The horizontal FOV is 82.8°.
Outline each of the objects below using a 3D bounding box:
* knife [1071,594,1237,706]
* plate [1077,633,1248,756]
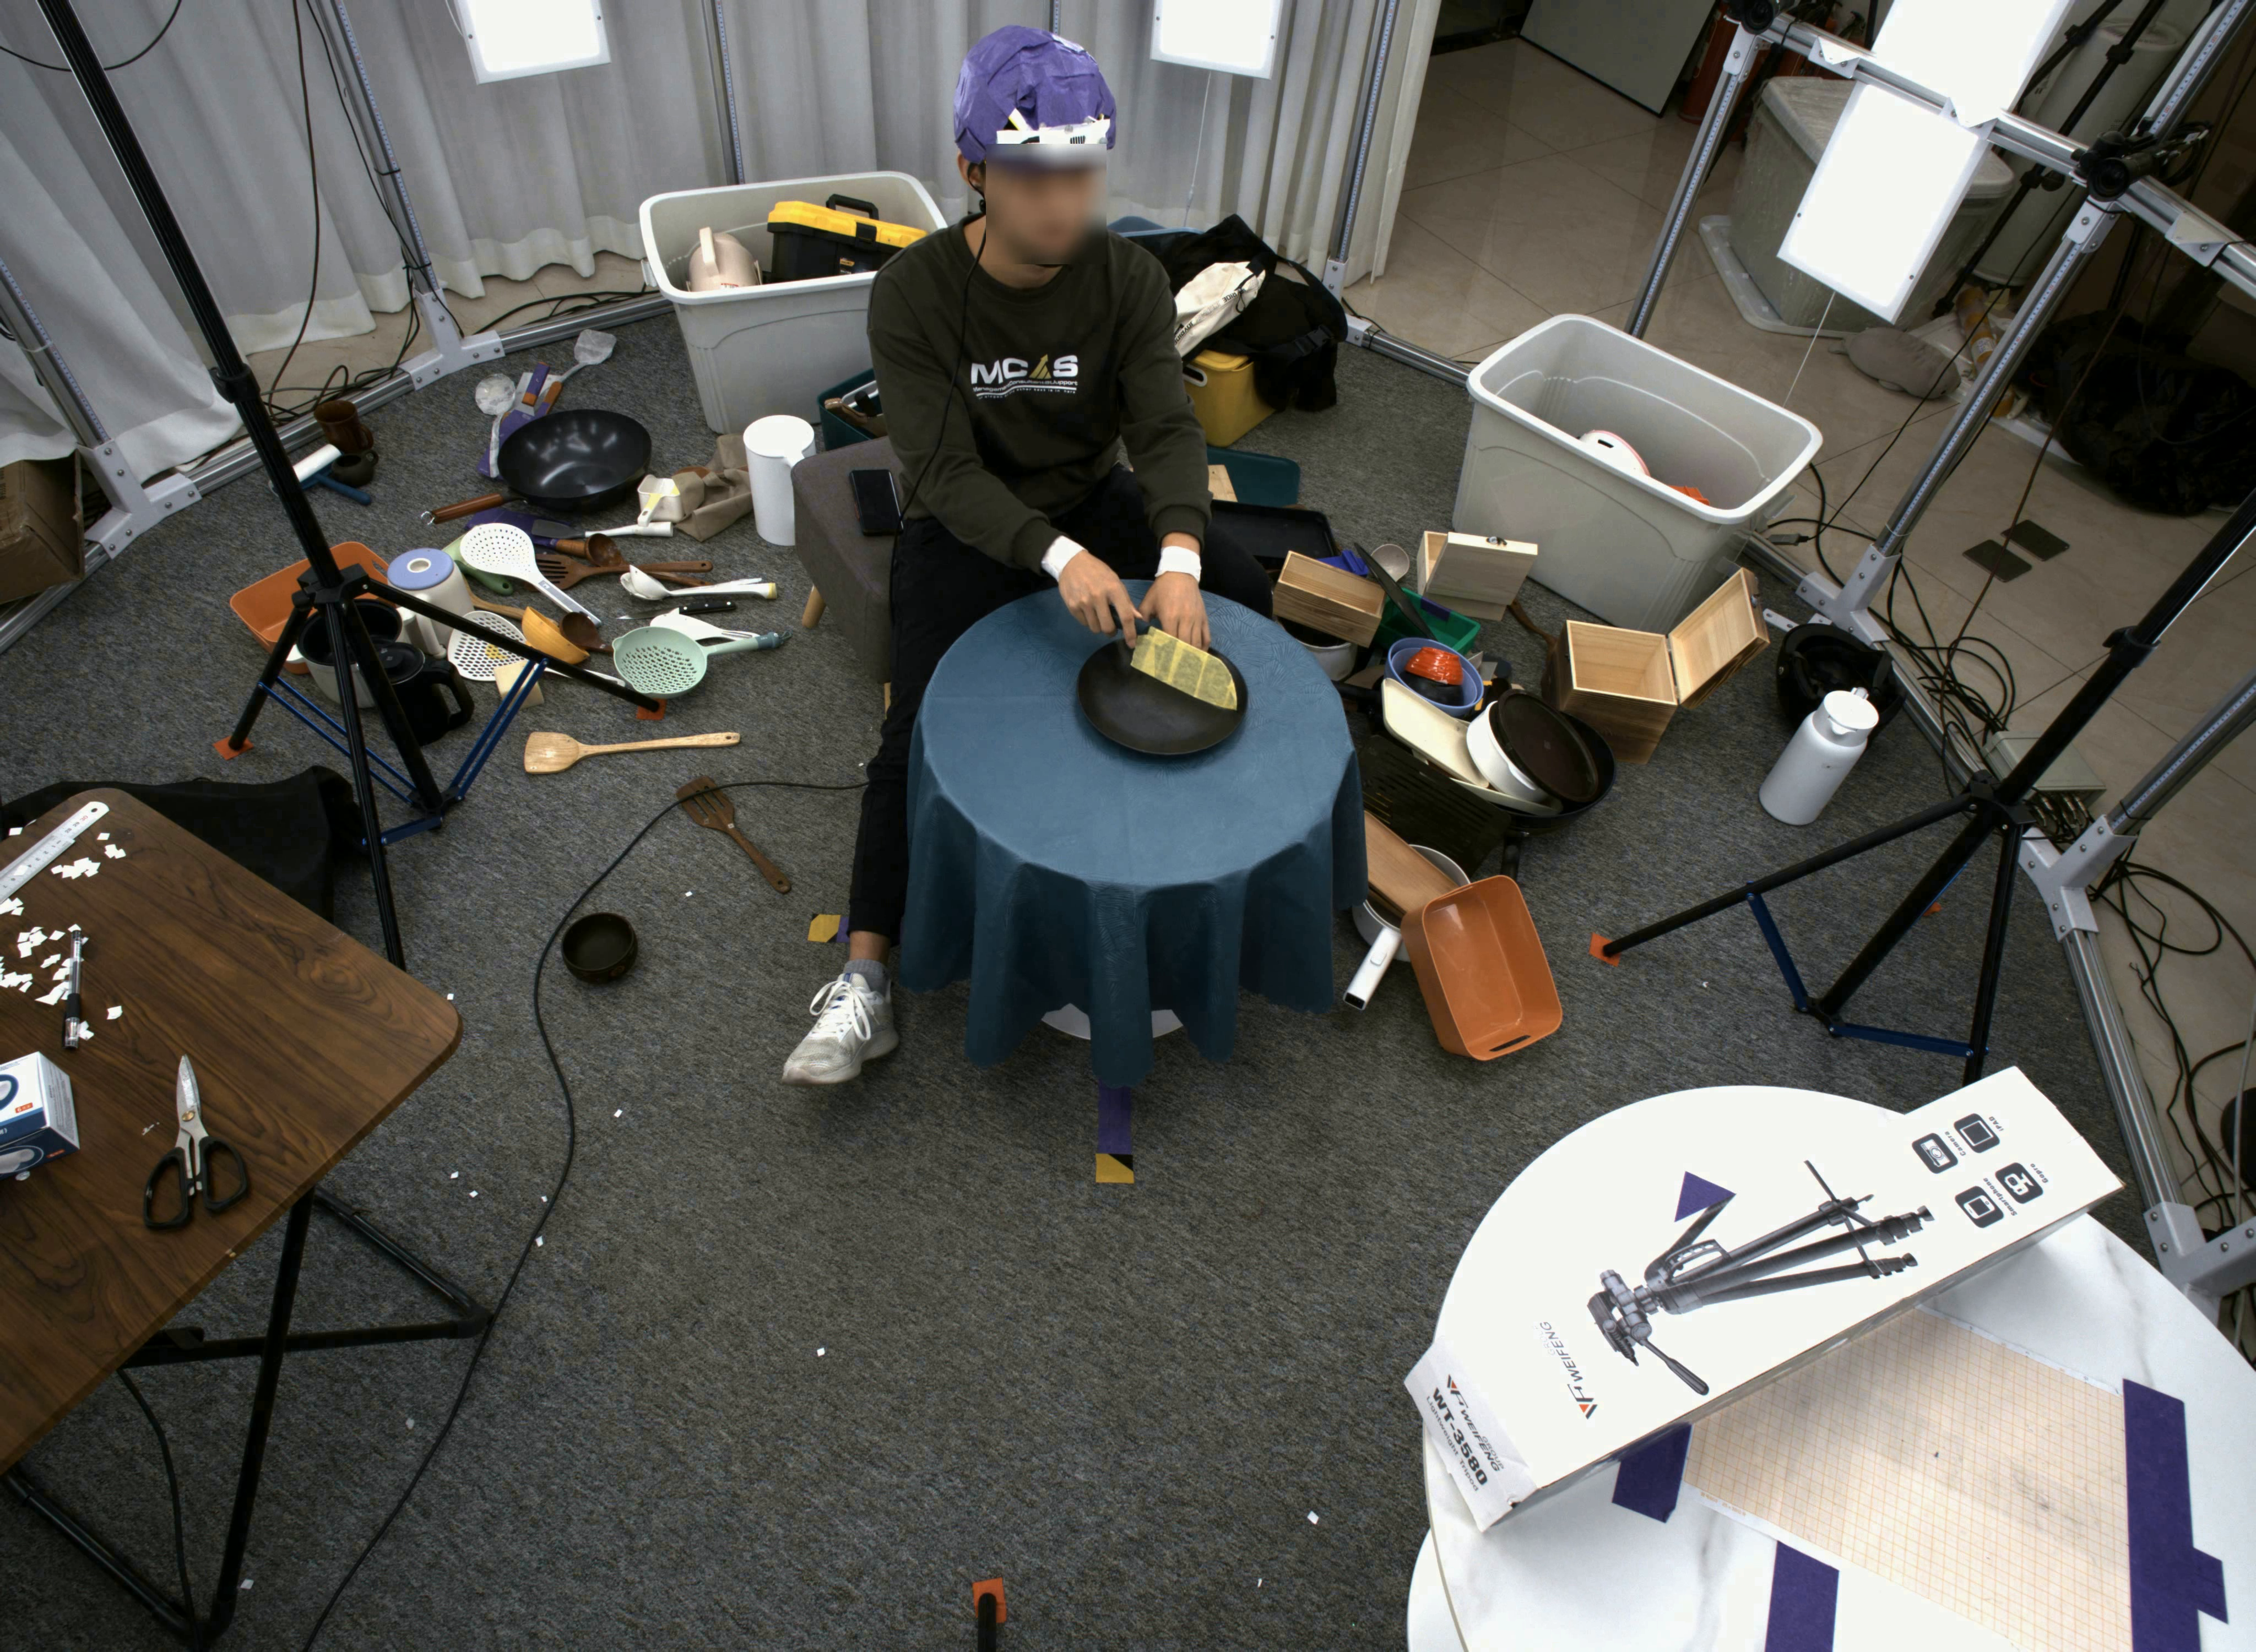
[{"bbox_3d":[0.035,-0.252,1.829,0.292,0.079,0.027,32,34,19],"label":"knife"},{"bbox_3d":[0.048,-0.184,1.815,0.244,0.023,0.250,2,49,-2],"label":"plate"}]
